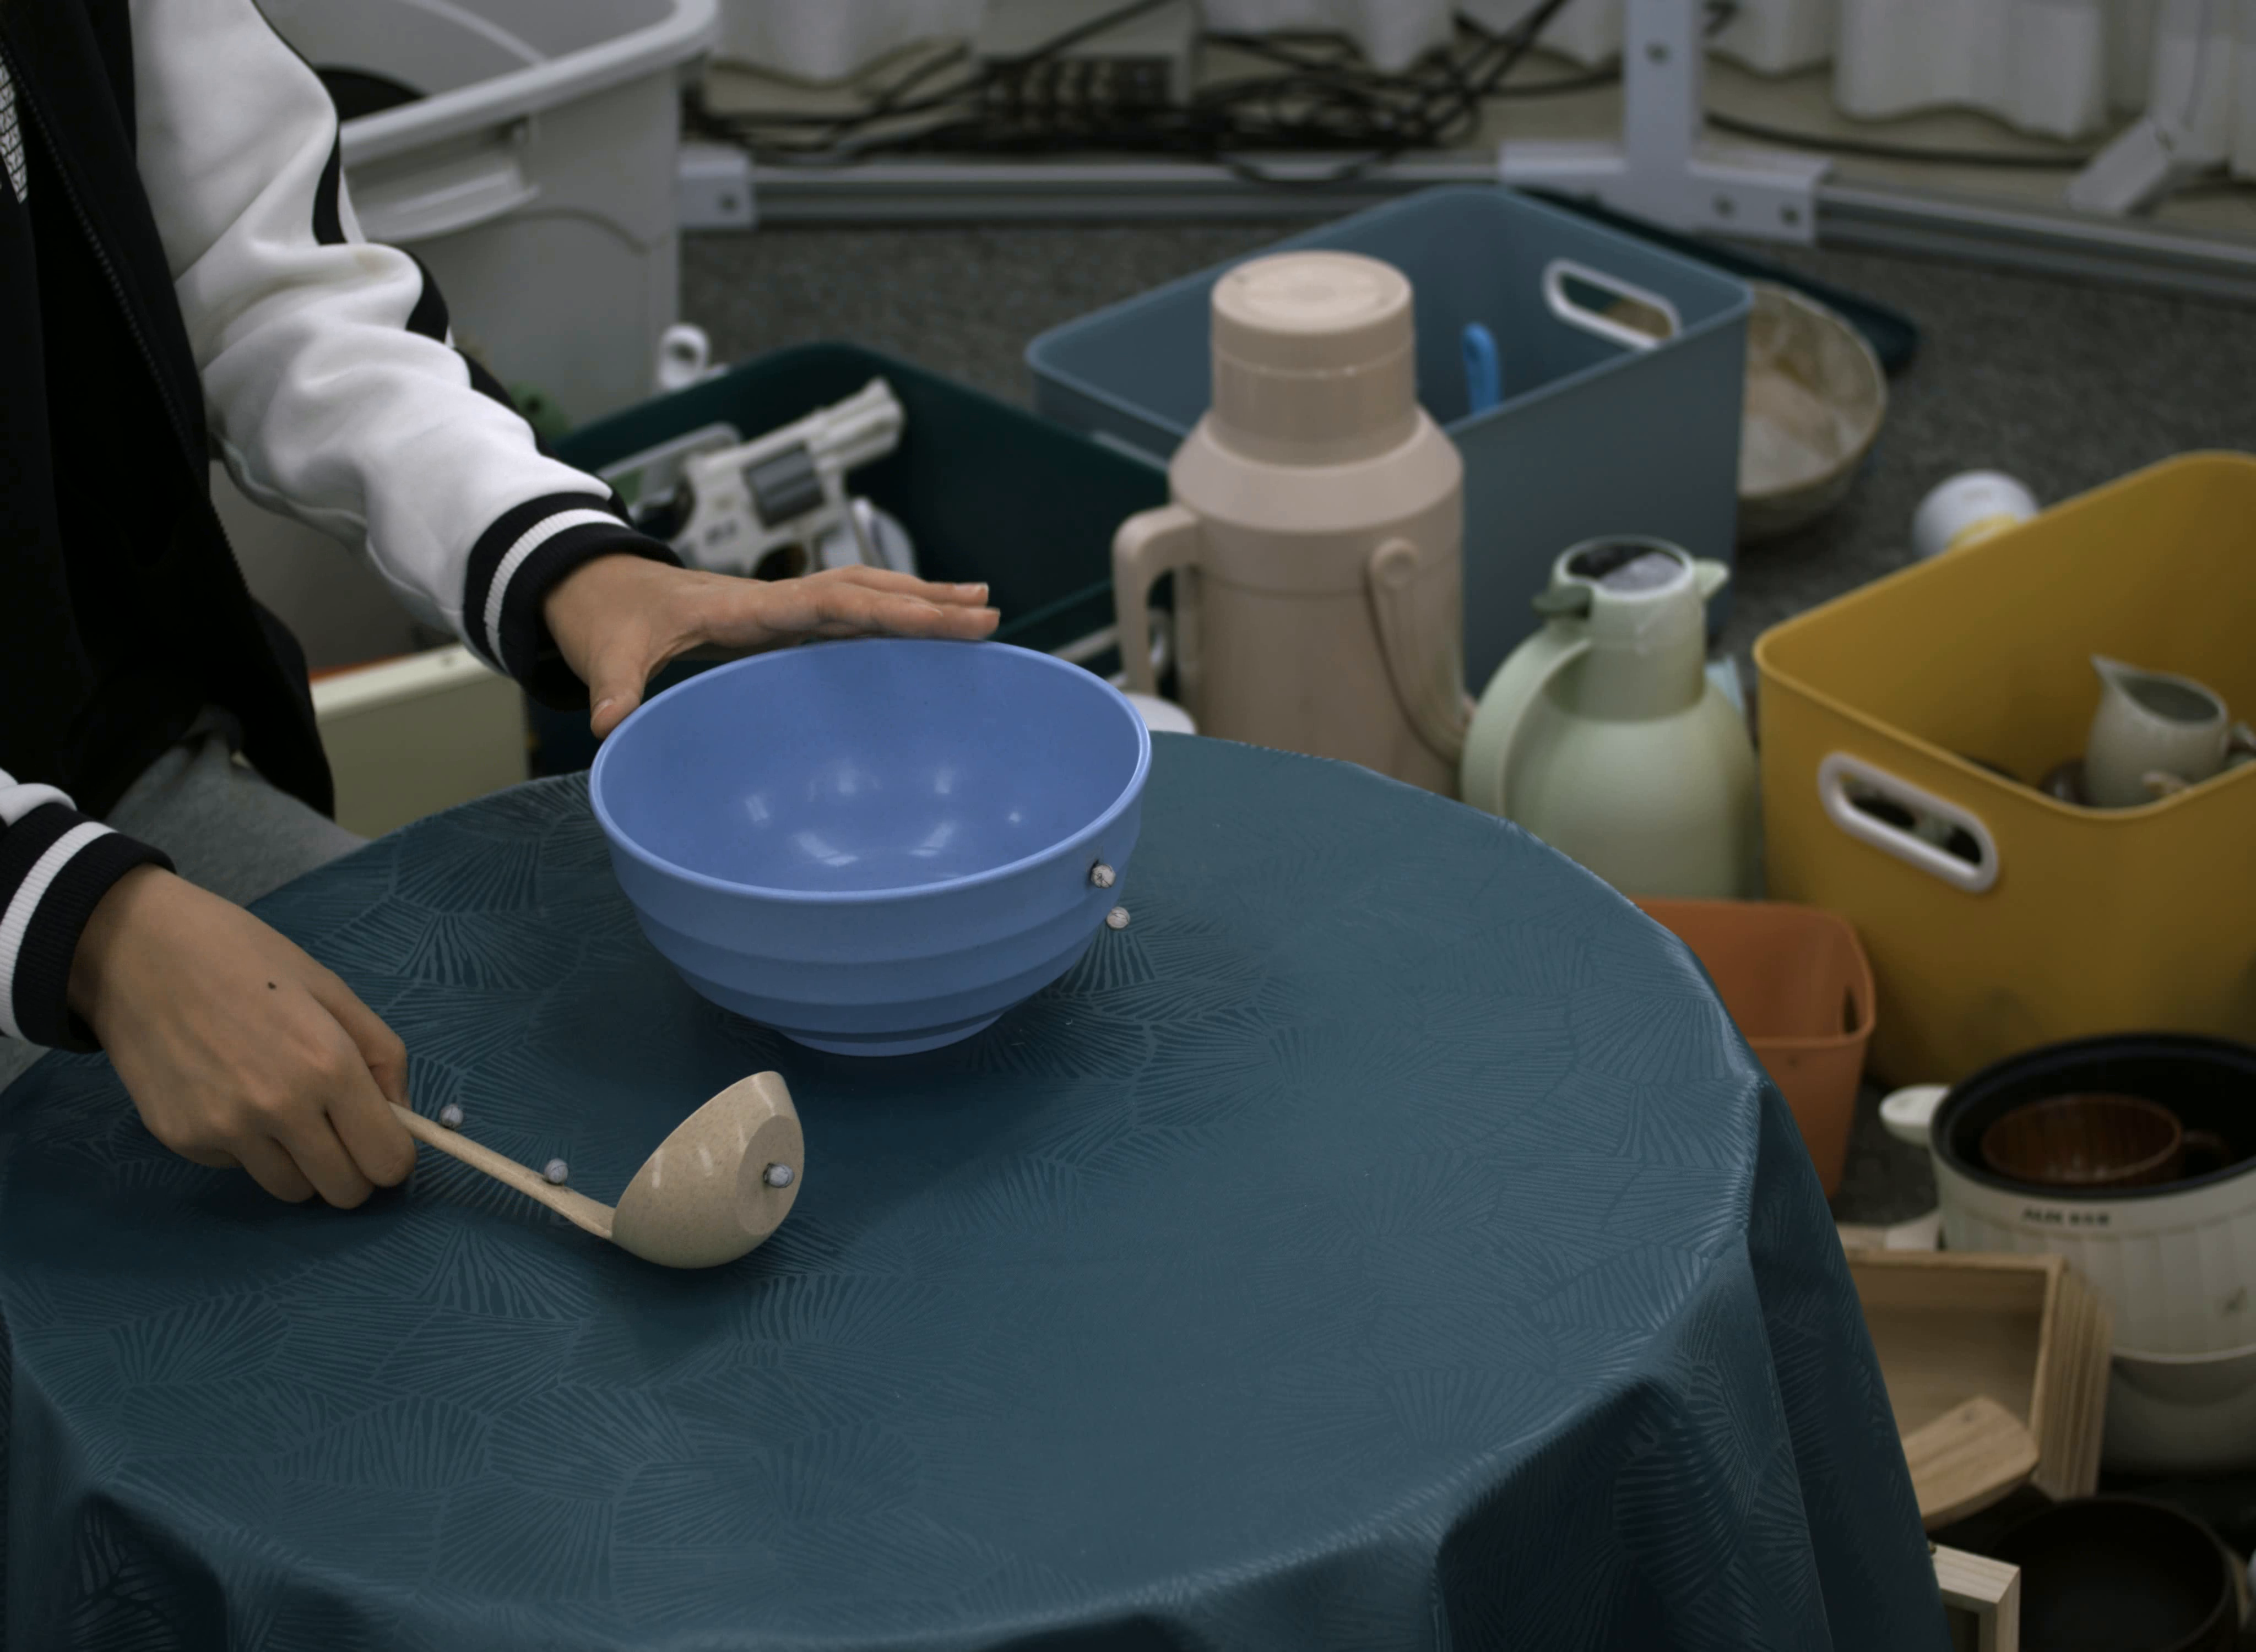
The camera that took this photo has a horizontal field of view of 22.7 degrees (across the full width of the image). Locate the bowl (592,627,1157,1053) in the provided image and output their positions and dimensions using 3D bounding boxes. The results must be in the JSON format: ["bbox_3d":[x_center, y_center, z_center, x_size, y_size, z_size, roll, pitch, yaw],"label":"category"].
[{"bbox_3d":[-0.087,0.016,1.969,0.195,0.094,0.199,0,28,0],"label":"bowl"}]

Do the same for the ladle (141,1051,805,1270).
[{"bbox_3d":[-0.222,0.083,1.863,0.253,0.072,0.073,18,16,26],"label":"ladle"}]
